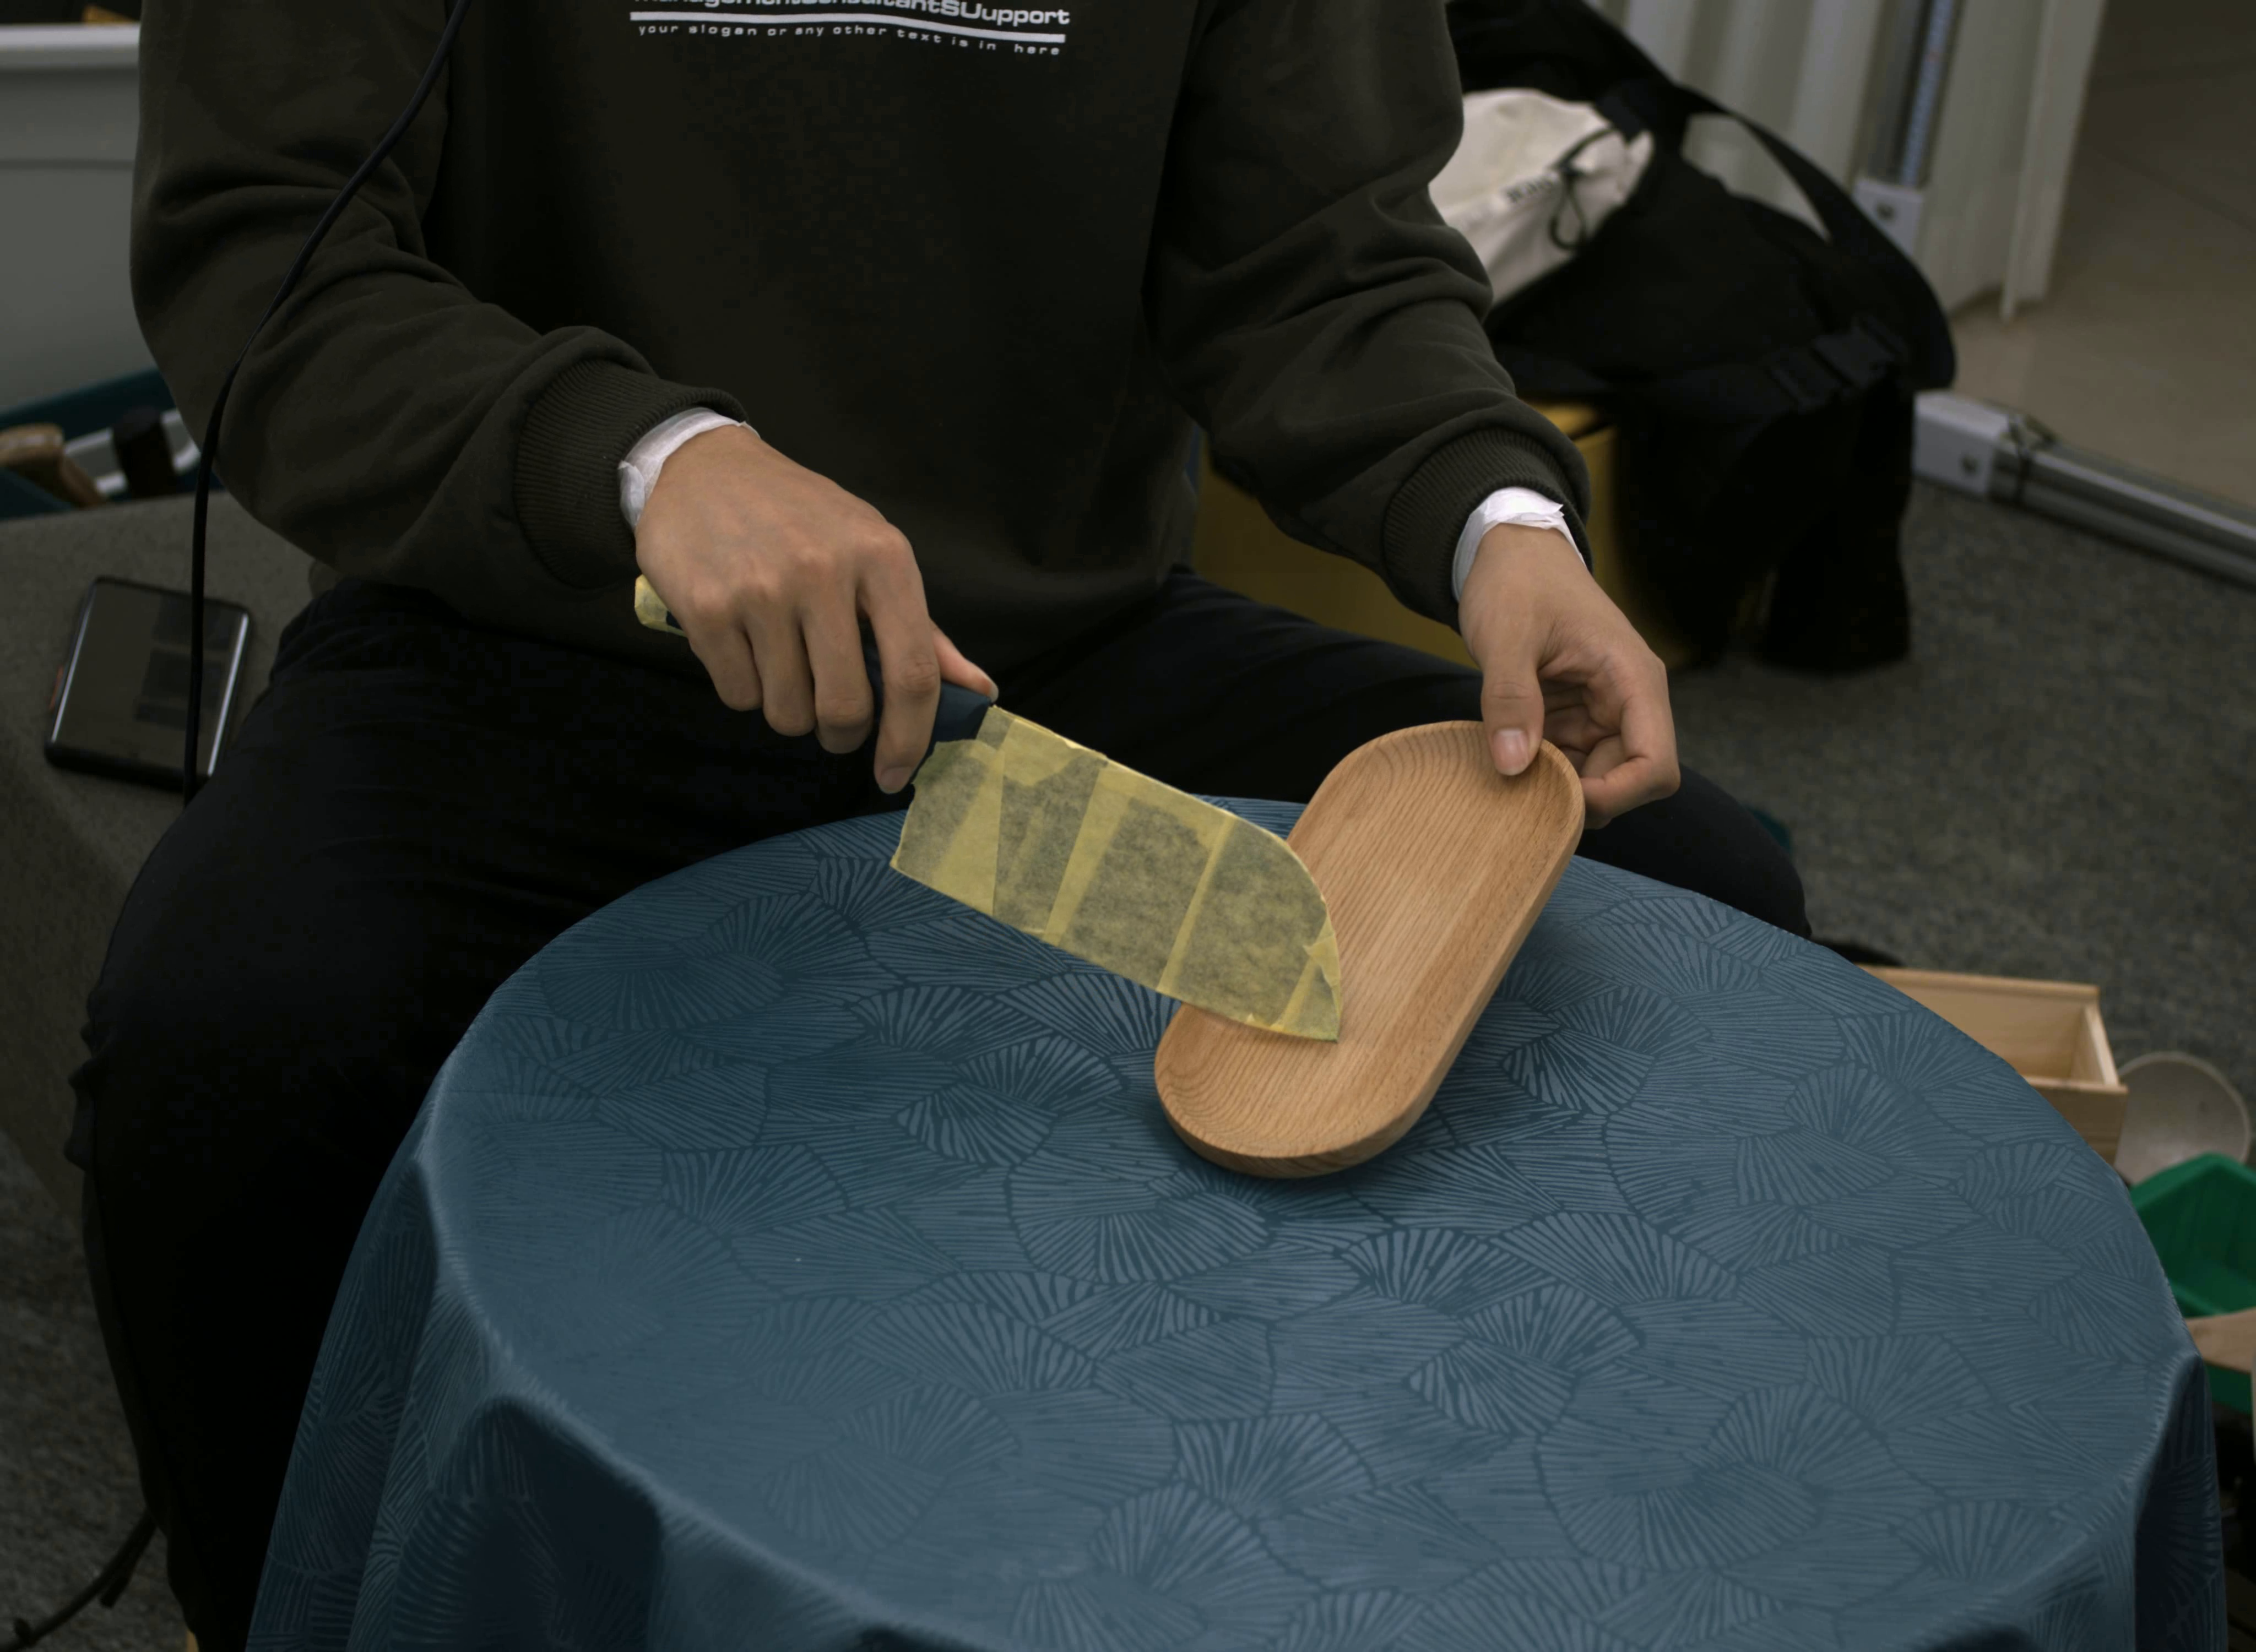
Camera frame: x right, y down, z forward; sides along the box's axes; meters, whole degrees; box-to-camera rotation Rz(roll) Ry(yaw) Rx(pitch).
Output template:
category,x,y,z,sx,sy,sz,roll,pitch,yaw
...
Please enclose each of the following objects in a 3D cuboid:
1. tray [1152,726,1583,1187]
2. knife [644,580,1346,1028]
category,x,y,z,sx,sy,sz,roll,pitch,yaw
tray,0.087,0.044,1.885,0.102,0.020,0.232,10,46,26
knife,-0.050,-0.008,1.877,0.290,0.081,0.027,28,18,13
